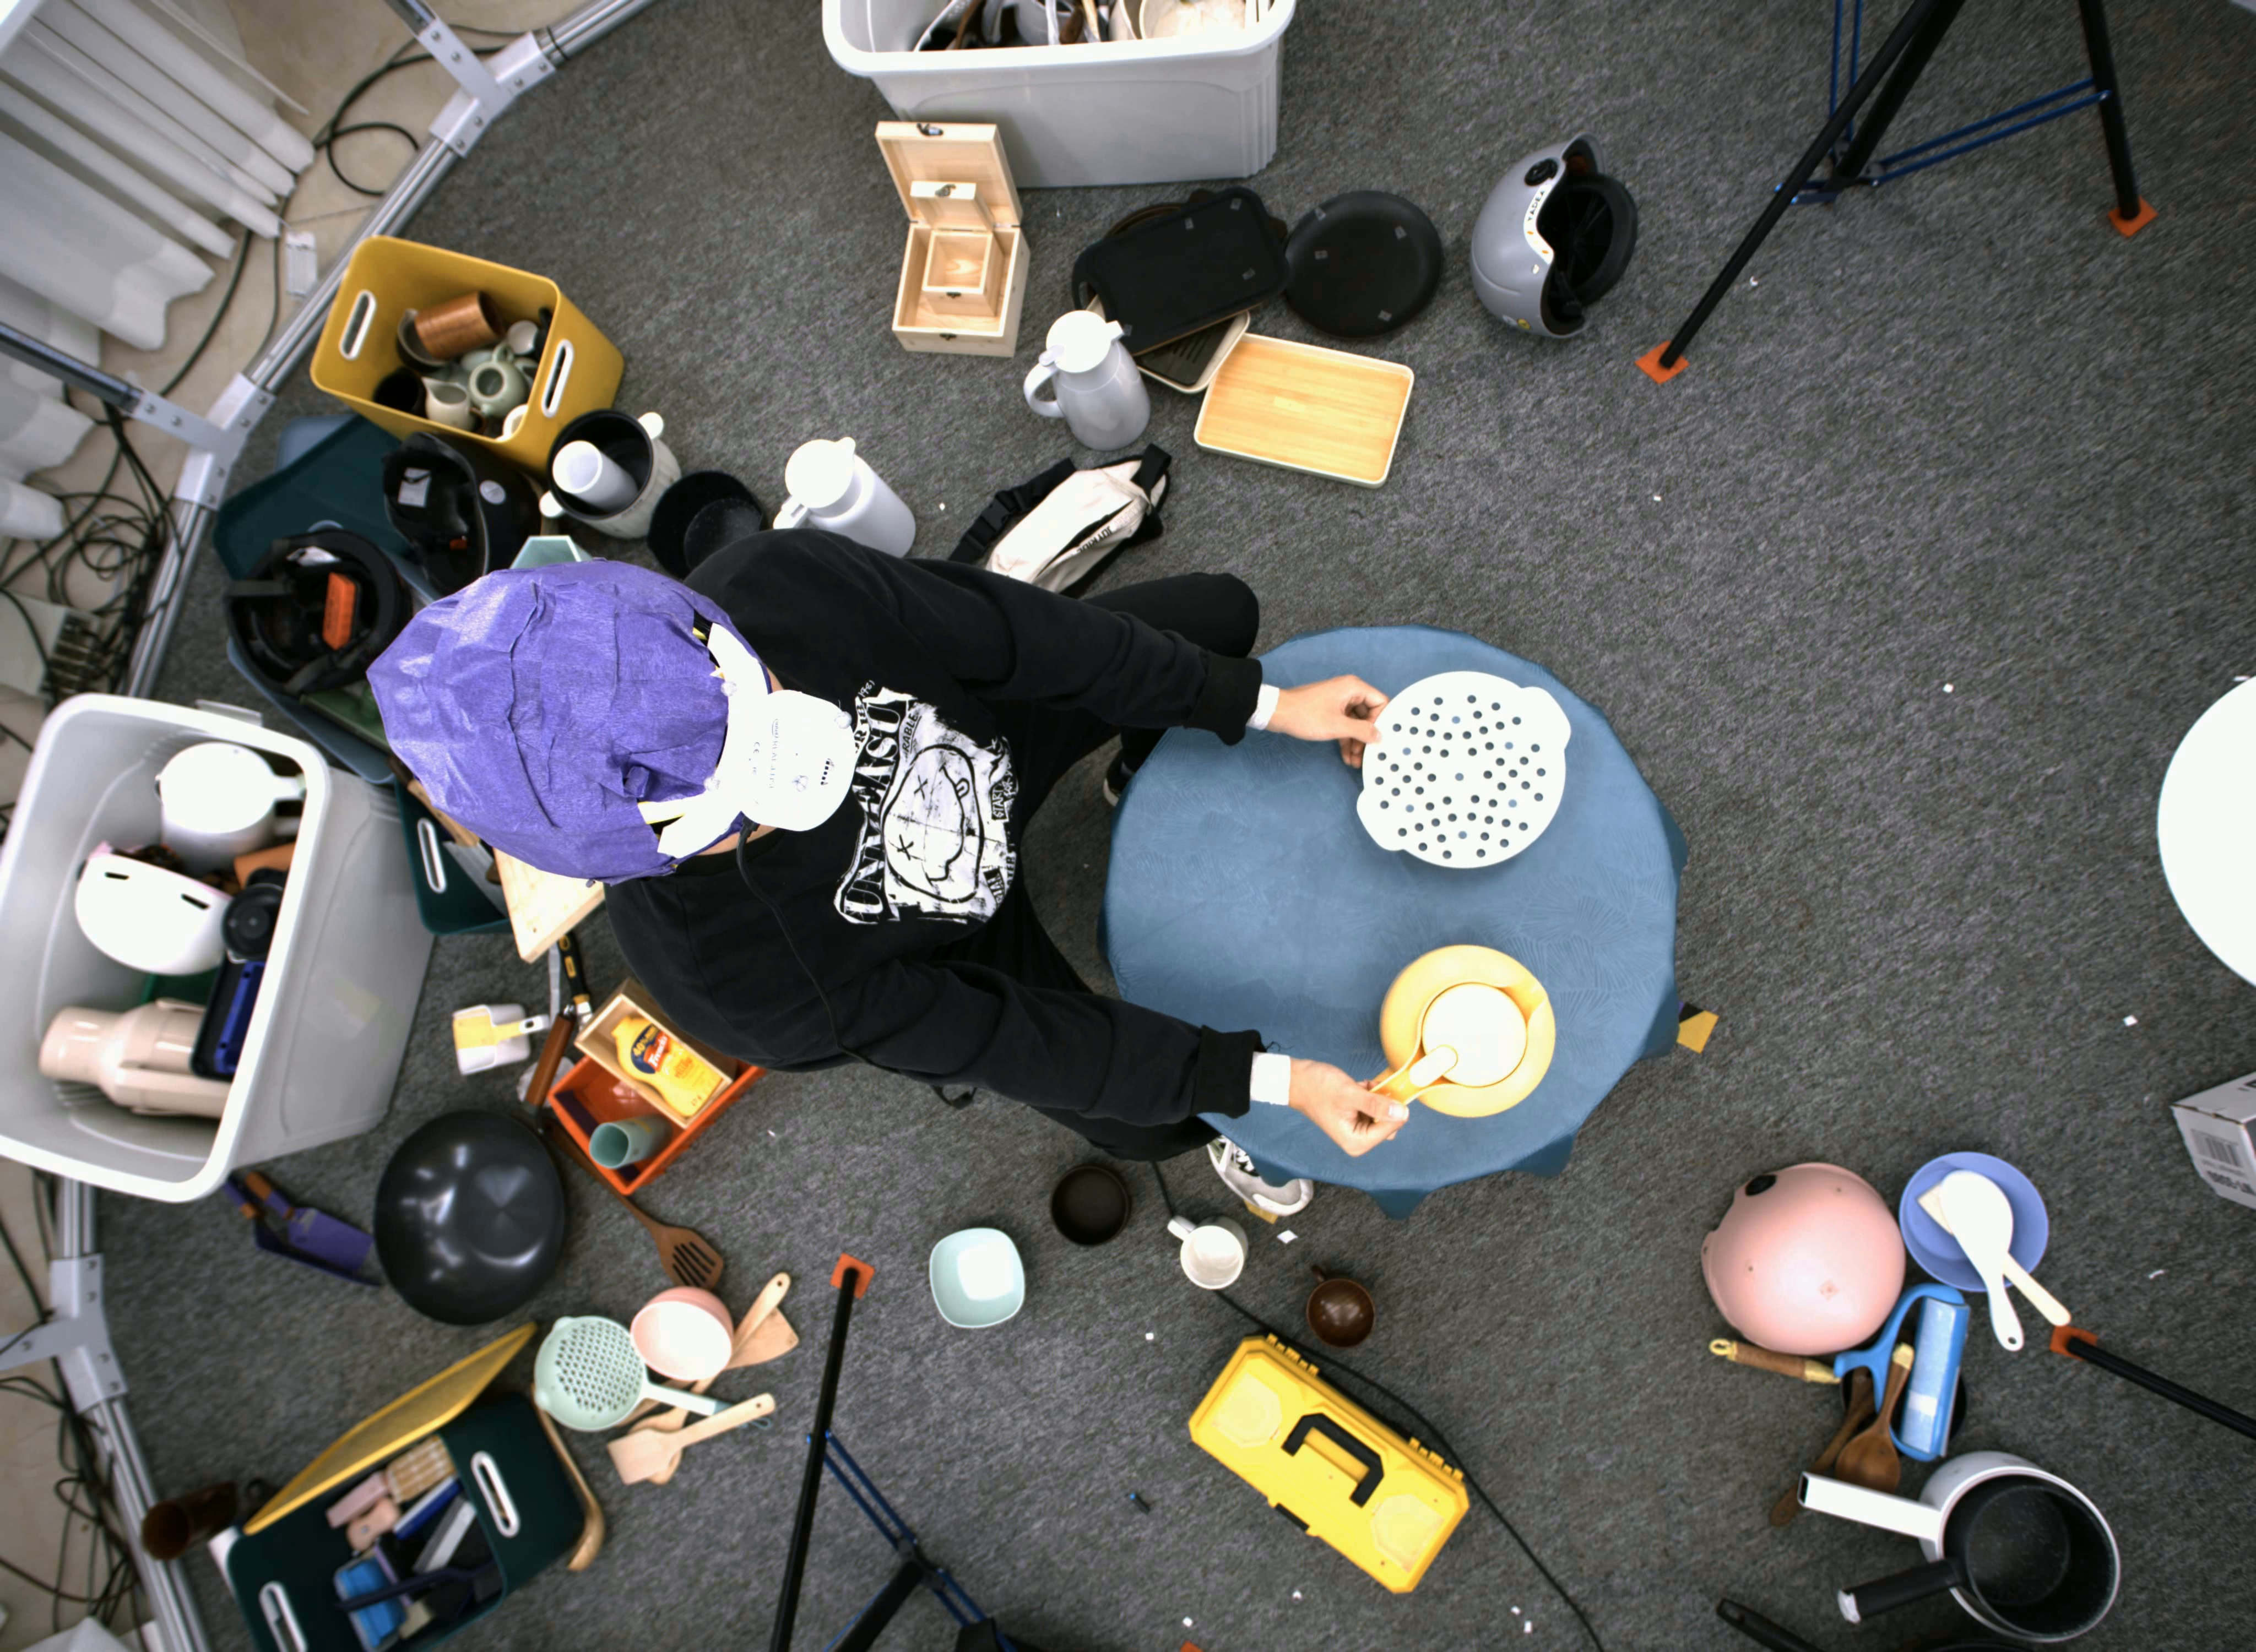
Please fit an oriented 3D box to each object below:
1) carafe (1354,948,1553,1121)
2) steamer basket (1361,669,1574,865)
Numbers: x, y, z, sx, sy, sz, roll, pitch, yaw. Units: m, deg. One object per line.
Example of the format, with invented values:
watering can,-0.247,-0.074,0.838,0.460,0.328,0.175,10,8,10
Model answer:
carafe,0.303,0.205,1.315,0.203,0.261,0.162,-35,77,5
steamer basket,0.349,-0.060,1.422,0.232,0.069,0.201,-33,82,8
